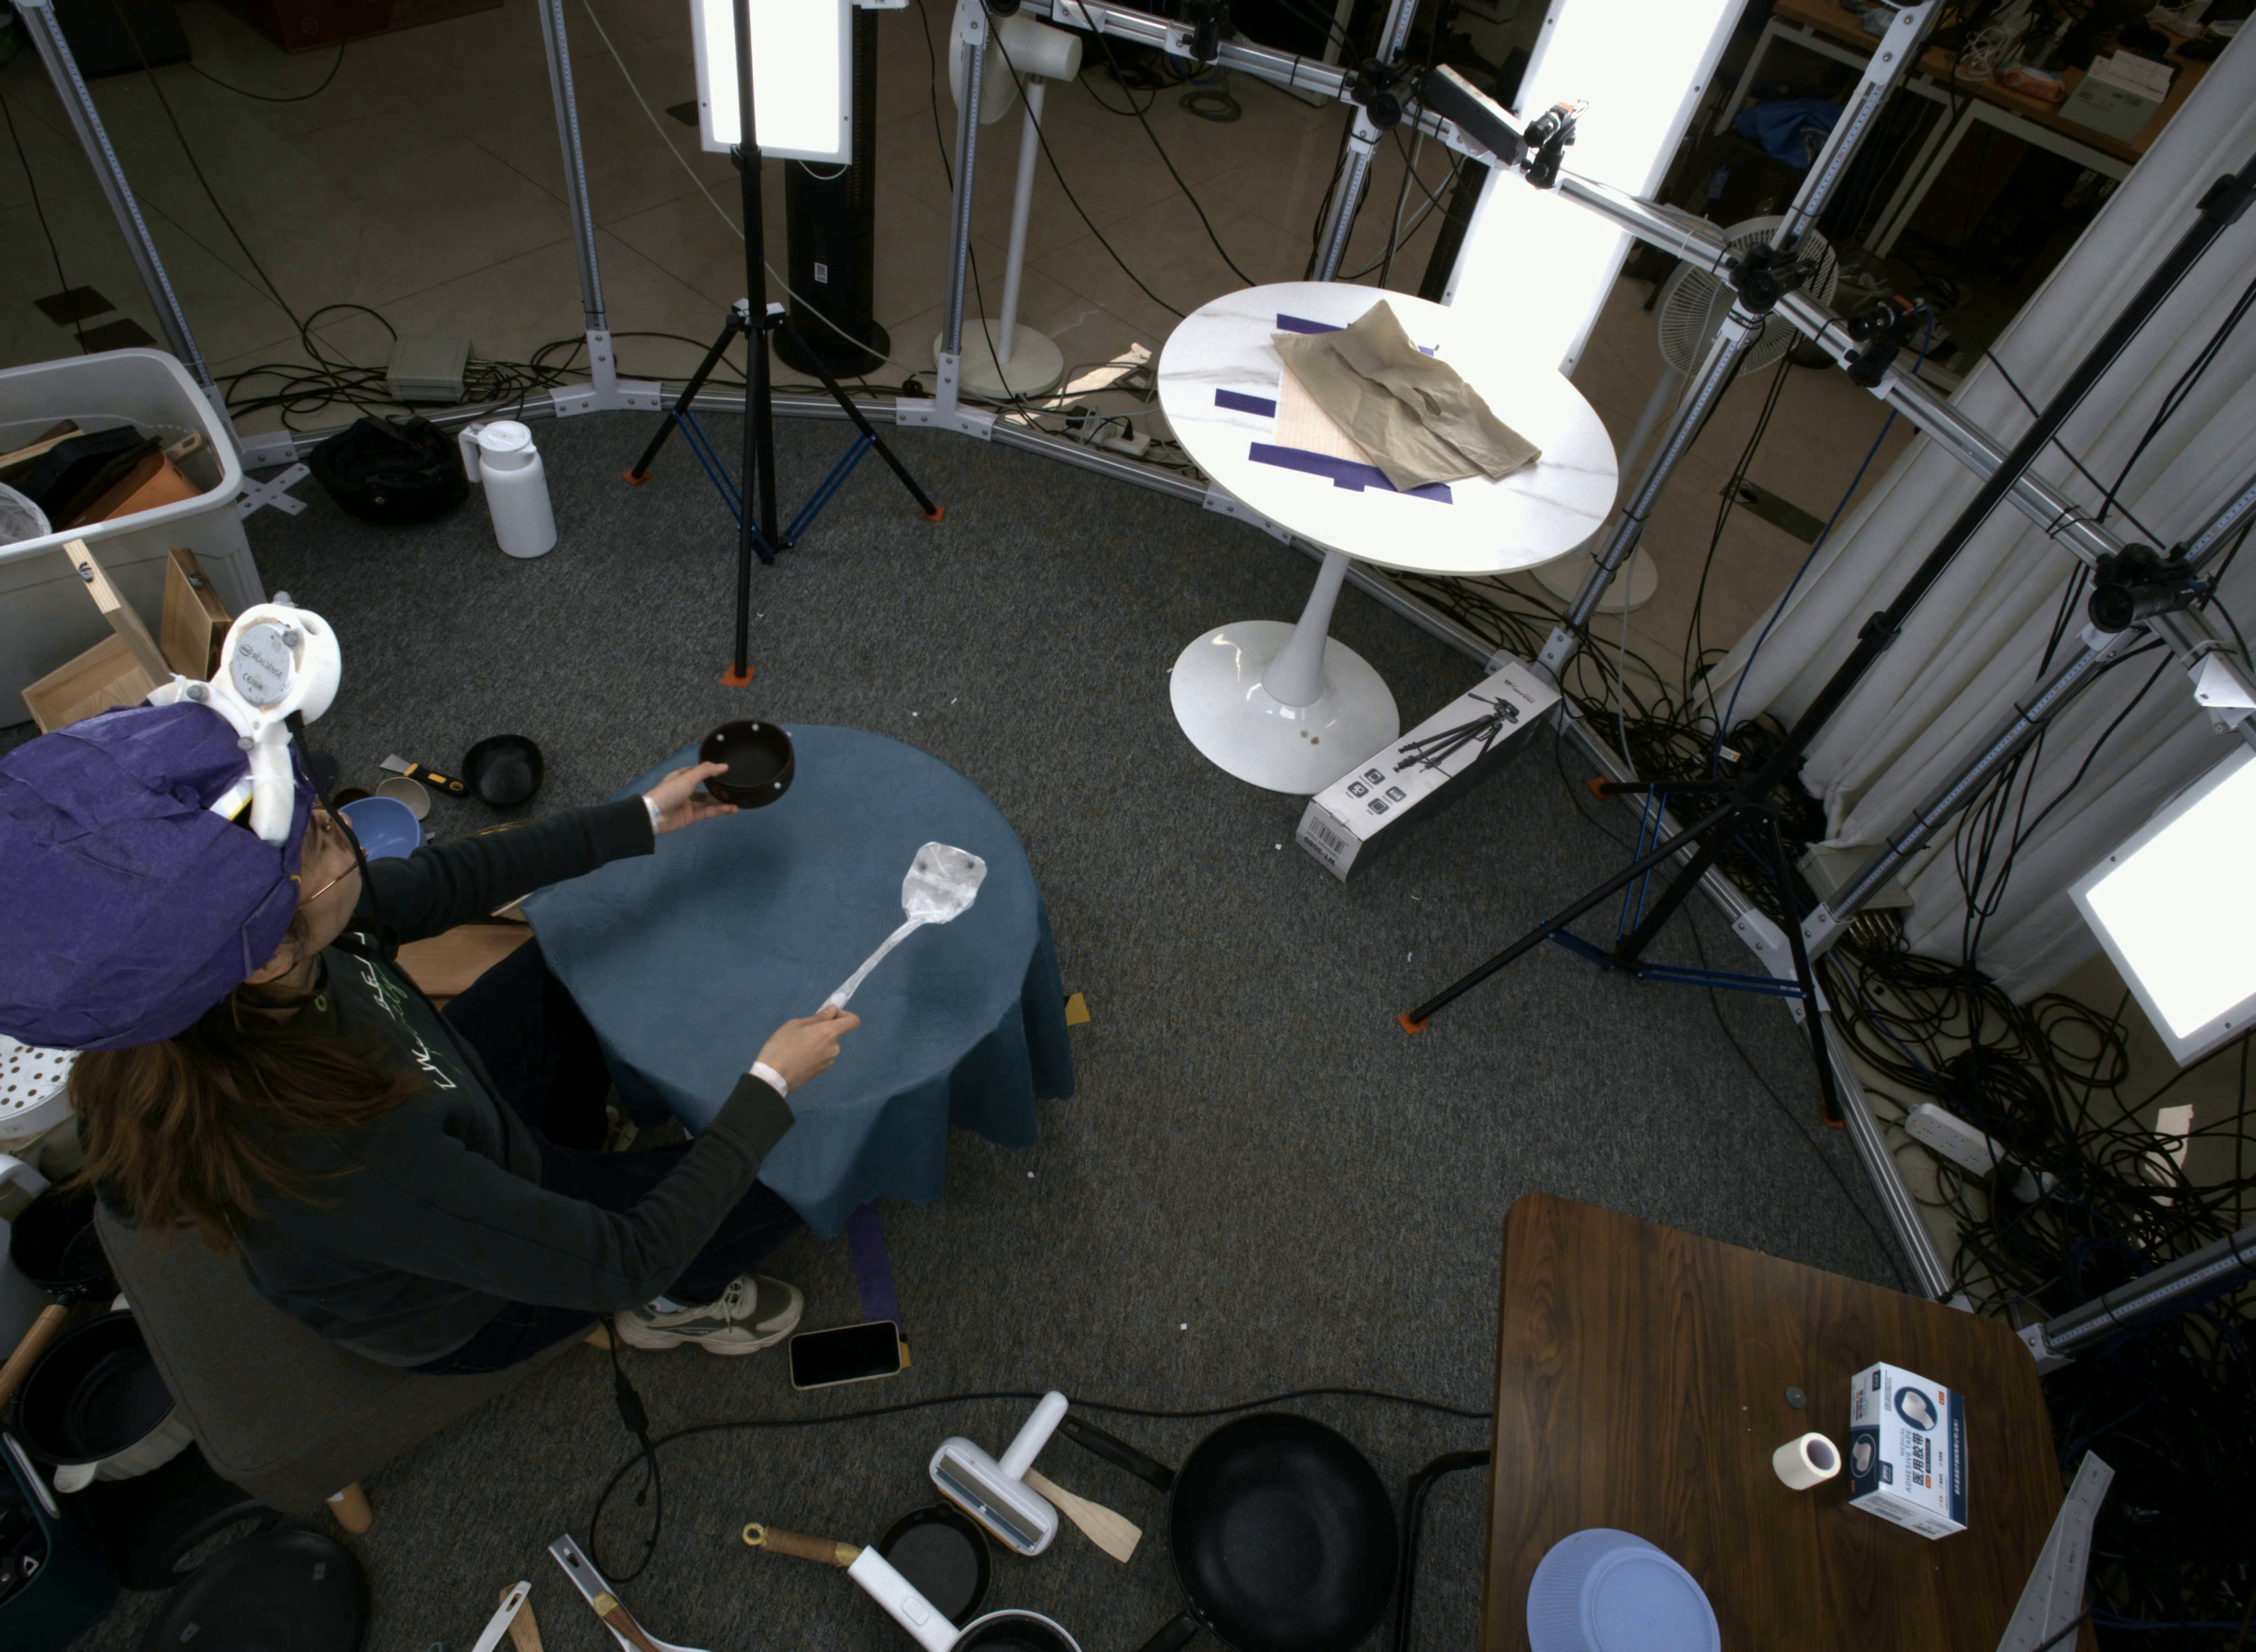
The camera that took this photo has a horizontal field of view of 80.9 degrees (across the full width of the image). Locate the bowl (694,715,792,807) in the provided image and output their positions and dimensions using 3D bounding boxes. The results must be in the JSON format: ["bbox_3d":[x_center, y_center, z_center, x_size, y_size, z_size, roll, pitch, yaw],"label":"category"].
[{"bbox_3d":[-0.477,-0.073,1.609,0.117,0.071,0.116,5,51,-4],"label":"bowl"}]

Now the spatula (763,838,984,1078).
[{"bbox_3d":[-0.293,0.145,1.479,0.096,0.046,0.364,22,47,19],"label":"spatula"}]
